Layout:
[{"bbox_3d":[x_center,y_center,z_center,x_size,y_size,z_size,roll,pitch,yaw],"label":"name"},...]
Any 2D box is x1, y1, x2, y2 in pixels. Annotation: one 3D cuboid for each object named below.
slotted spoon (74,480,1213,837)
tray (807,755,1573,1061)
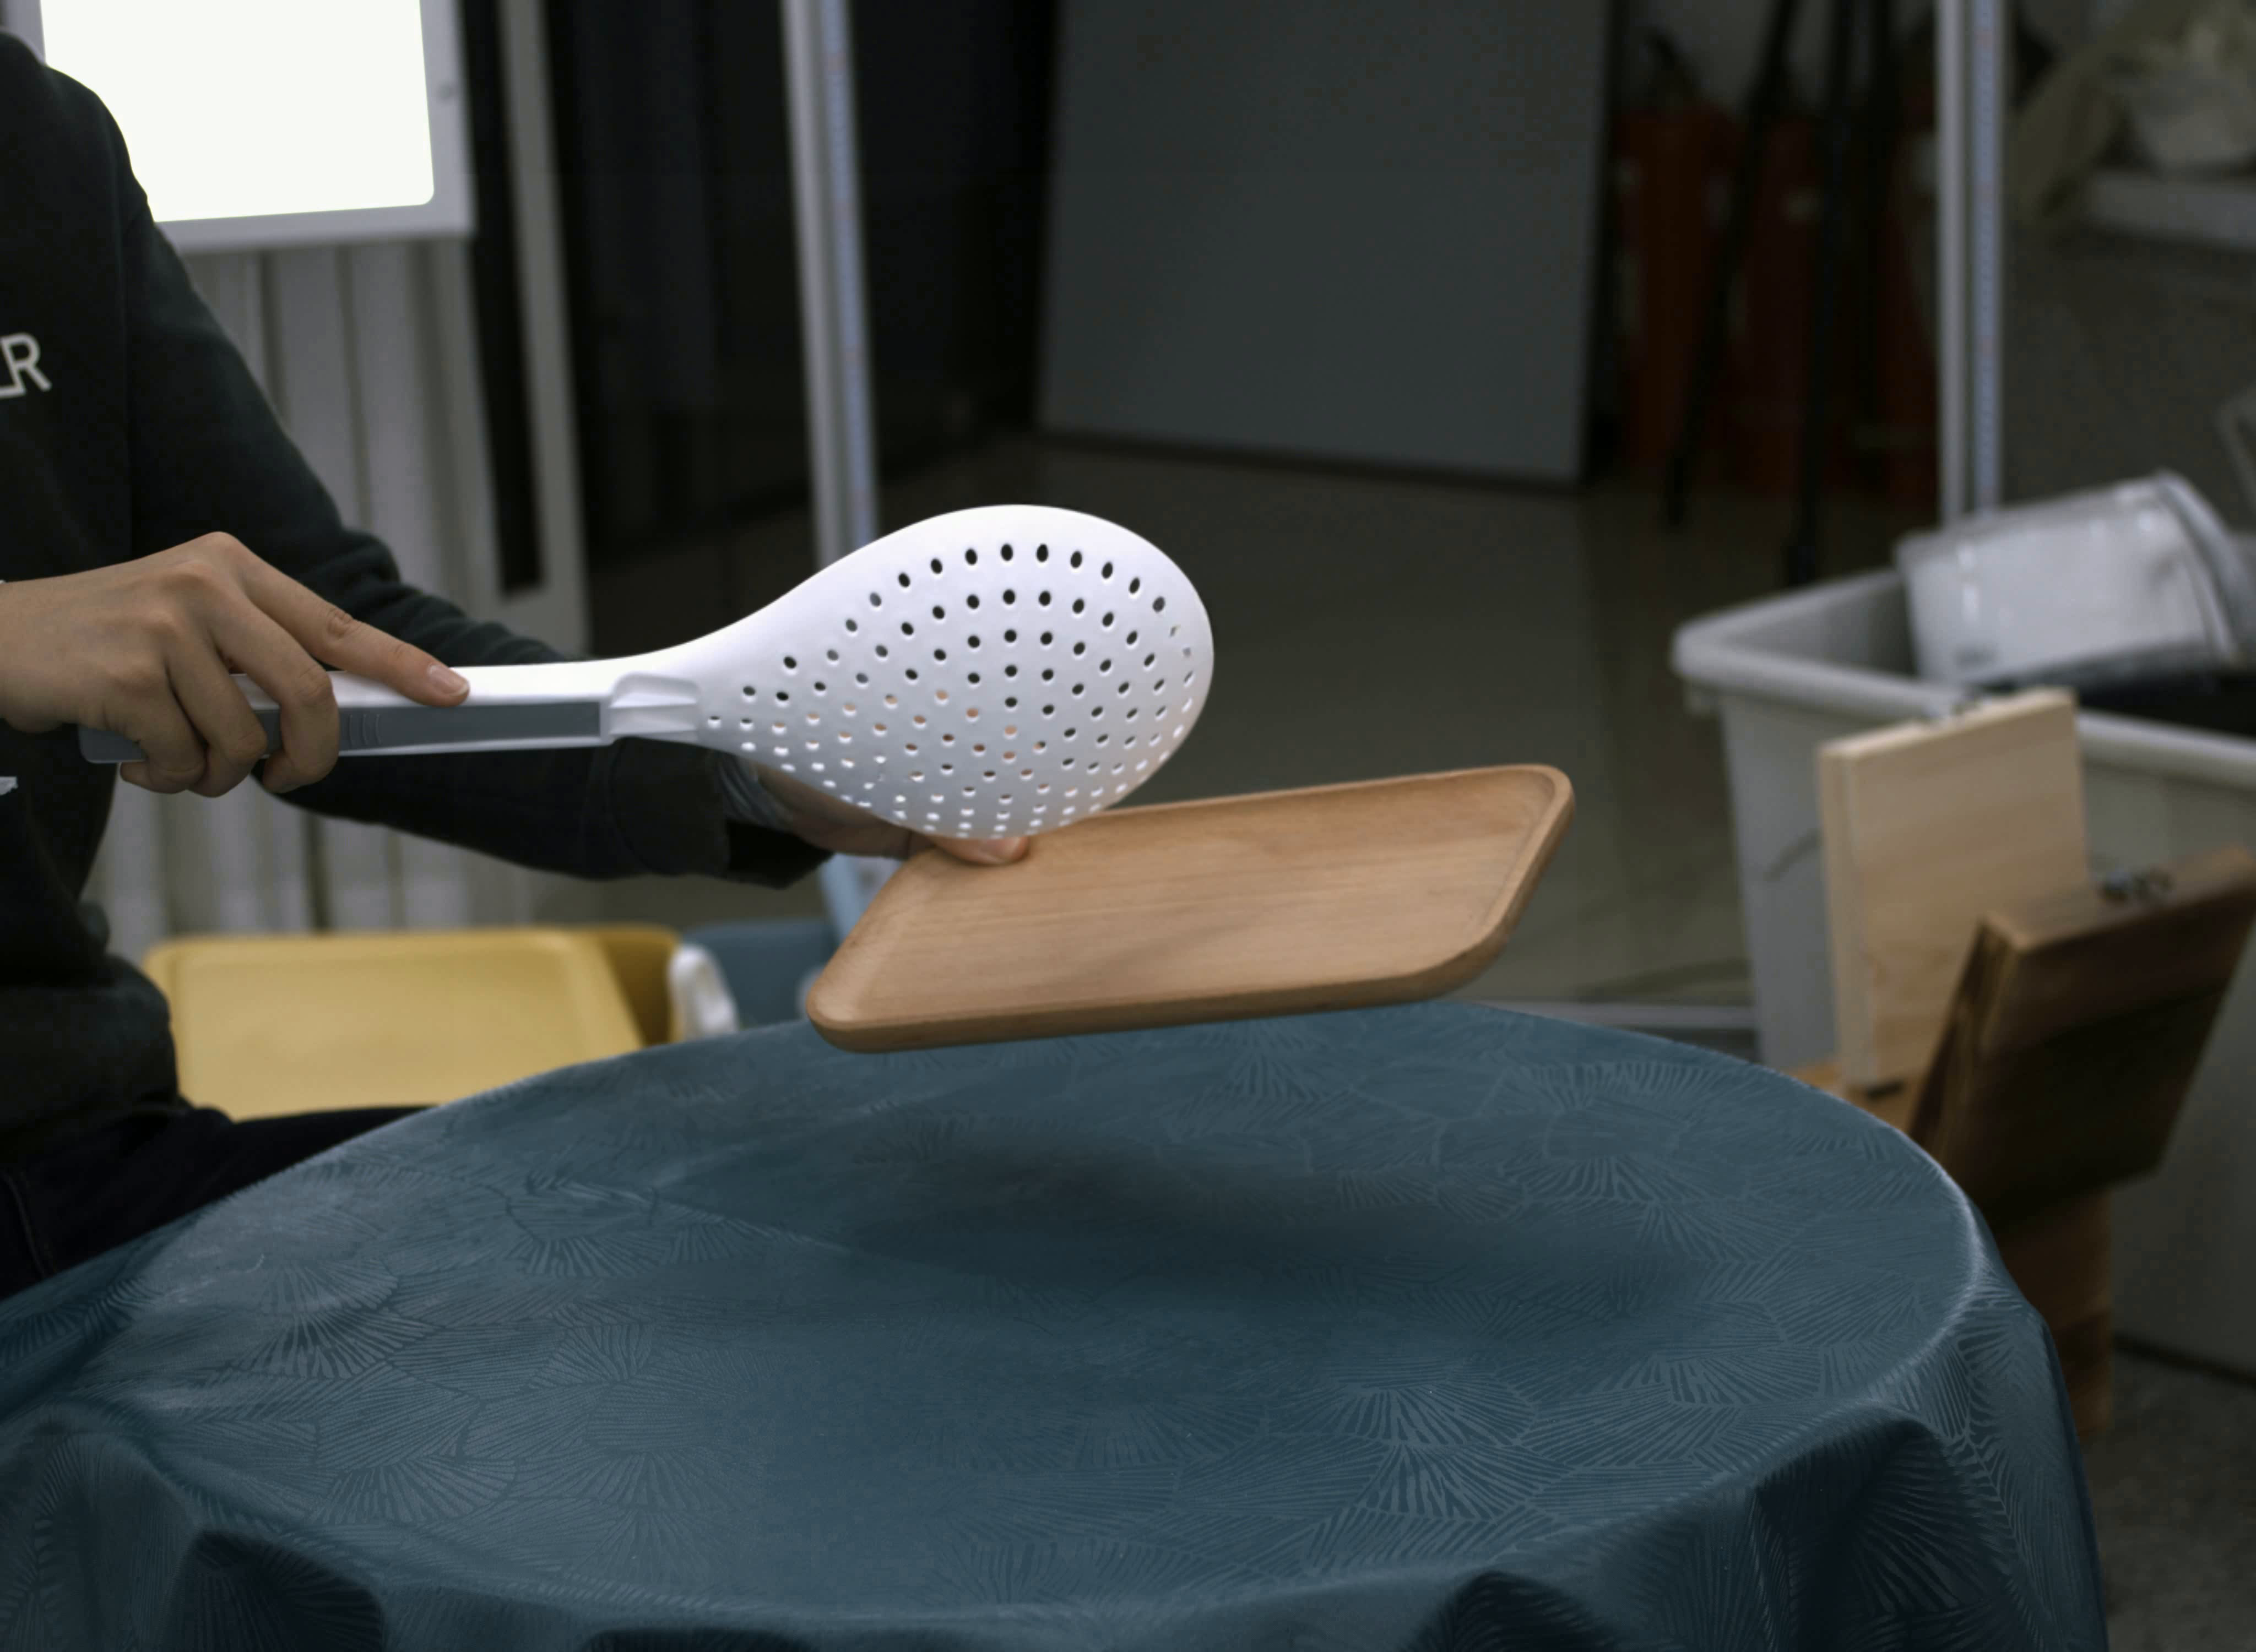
[{"bbox_3d":[-0.146,-0.041,1.654,0.345,0.137,0.046,1,40,-1],"label":"slotted spoon"},{"bbox_3d":[0.020,0.028,1.735,0.251,0.023,0.129,-8,26,30],"label":"tray"}]
